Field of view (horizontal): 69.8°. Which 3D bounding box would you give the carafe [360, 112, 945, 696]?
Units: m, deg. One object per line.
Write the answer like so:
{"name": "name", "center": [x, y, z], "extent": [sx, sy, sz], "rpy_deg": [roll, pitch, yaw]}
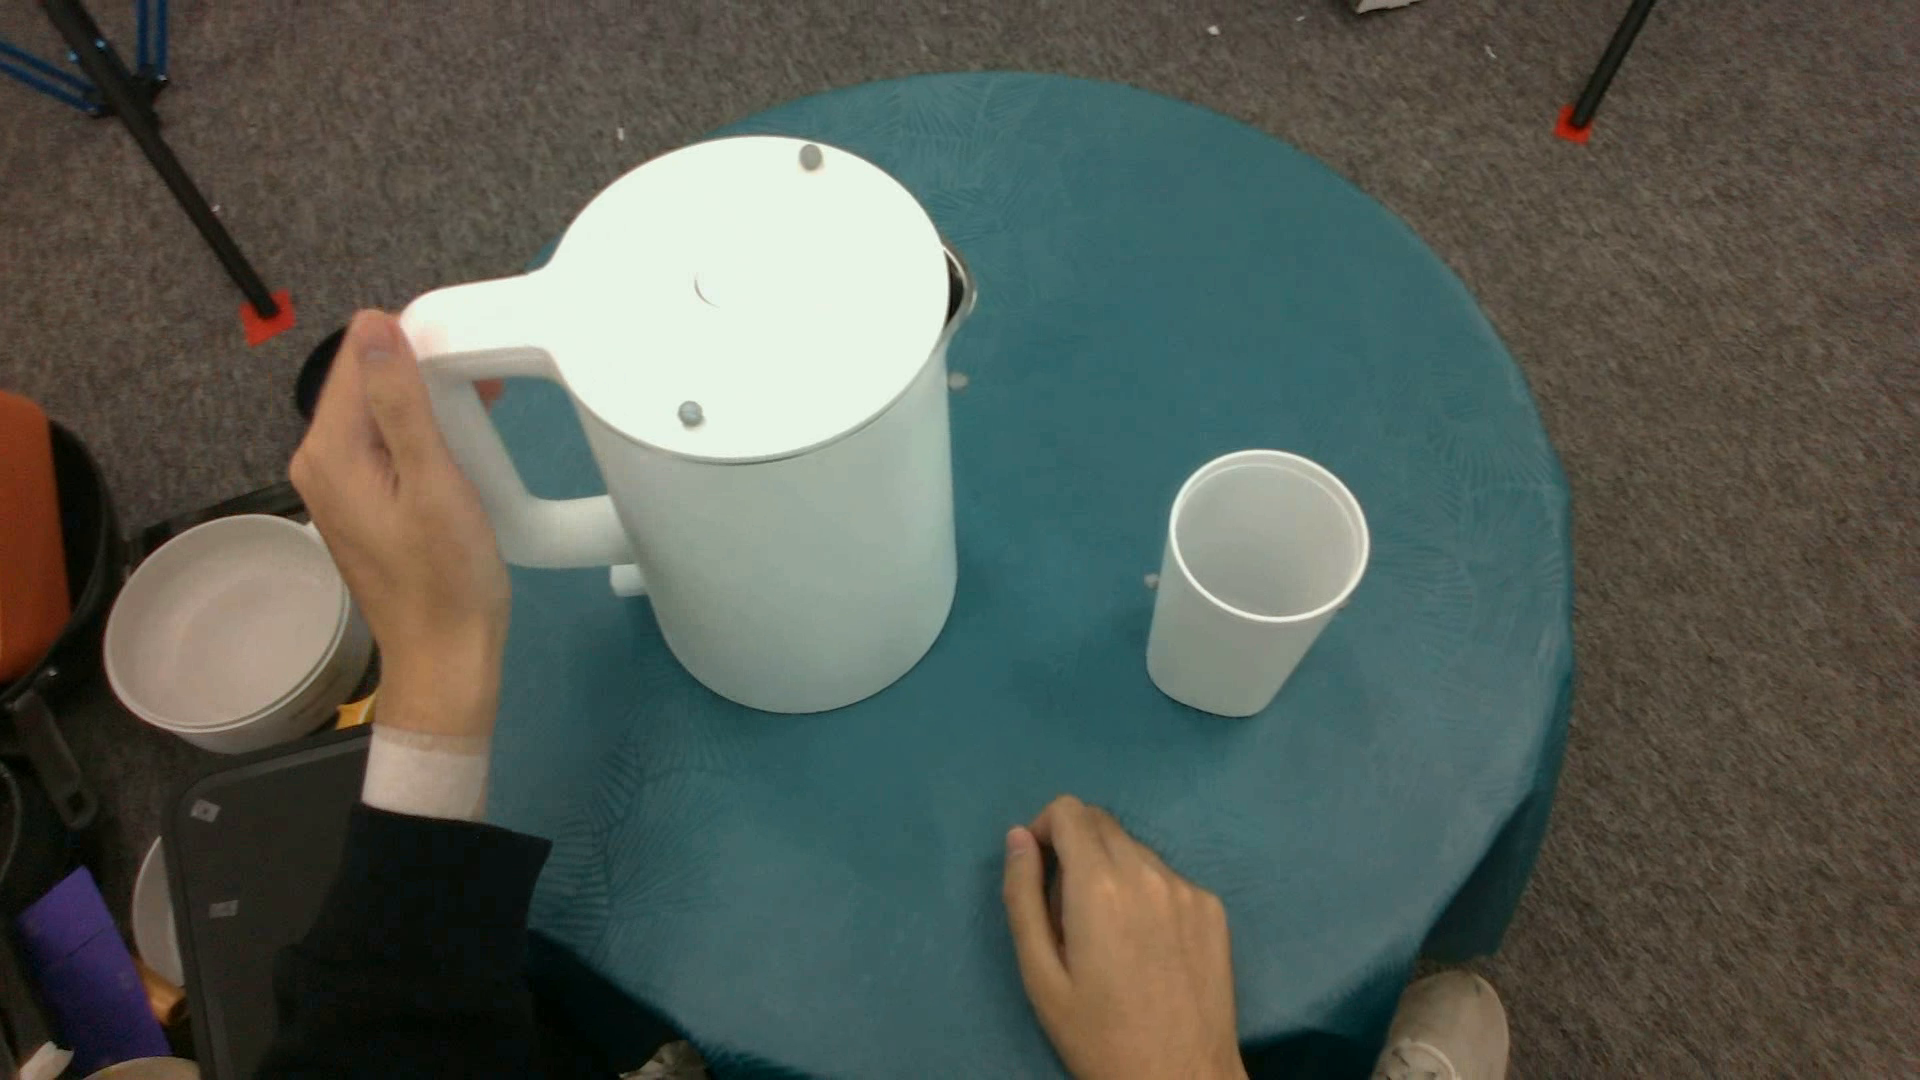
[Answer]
{"name": "carafe", "center": [-0.114, -0.044, 0.585], "extent": [0.213, 0.239, 0.152], "rpy_deg": [-6, 62, -6]}

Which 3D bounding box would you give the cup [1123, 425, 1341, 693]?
{"name": "cup", "center": [0.115, 0.014, 0.621], "extent": [0.081, 0.125, 0.082], "rpy_deg": [1, 64, -1]}
